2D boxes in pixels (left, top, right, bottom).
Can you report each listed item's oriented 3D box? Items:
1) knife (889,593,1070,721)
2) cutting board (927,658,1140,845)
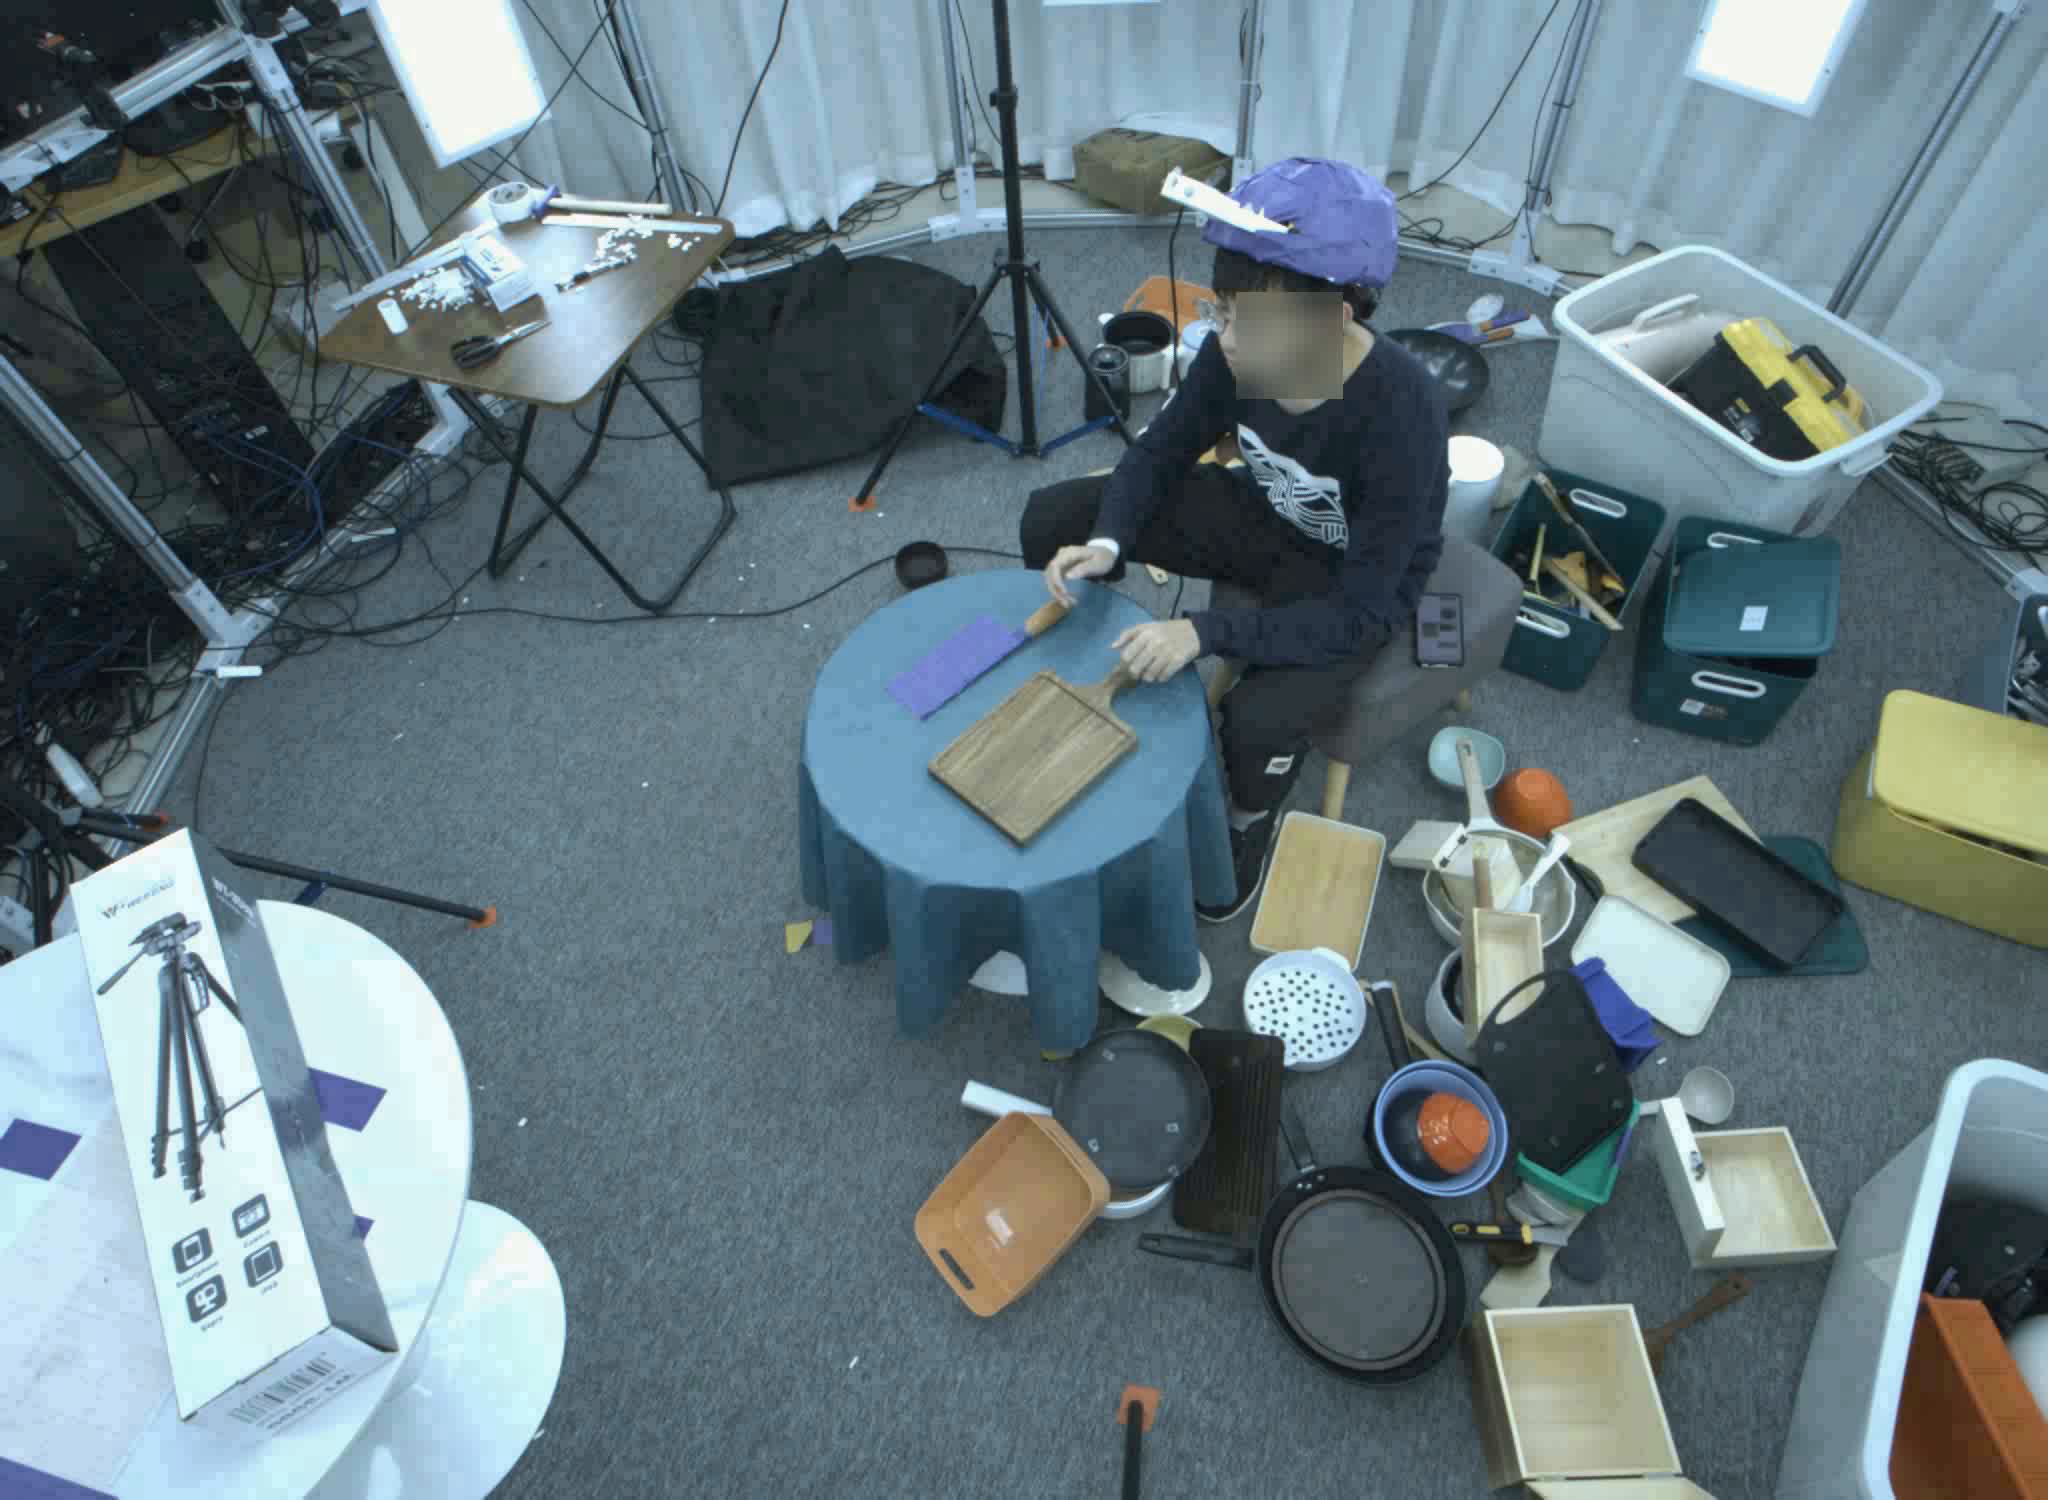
[{"bbox_3d":[-0.070,-0.163,1.897,0.317,0.032,0.102,-39,62,-23],"label":"knife"},{"bbox_3d":[0.049,-0.025,1.800,0.197,0.023,0.354,37,63,25],"label":"cutting board"}]
